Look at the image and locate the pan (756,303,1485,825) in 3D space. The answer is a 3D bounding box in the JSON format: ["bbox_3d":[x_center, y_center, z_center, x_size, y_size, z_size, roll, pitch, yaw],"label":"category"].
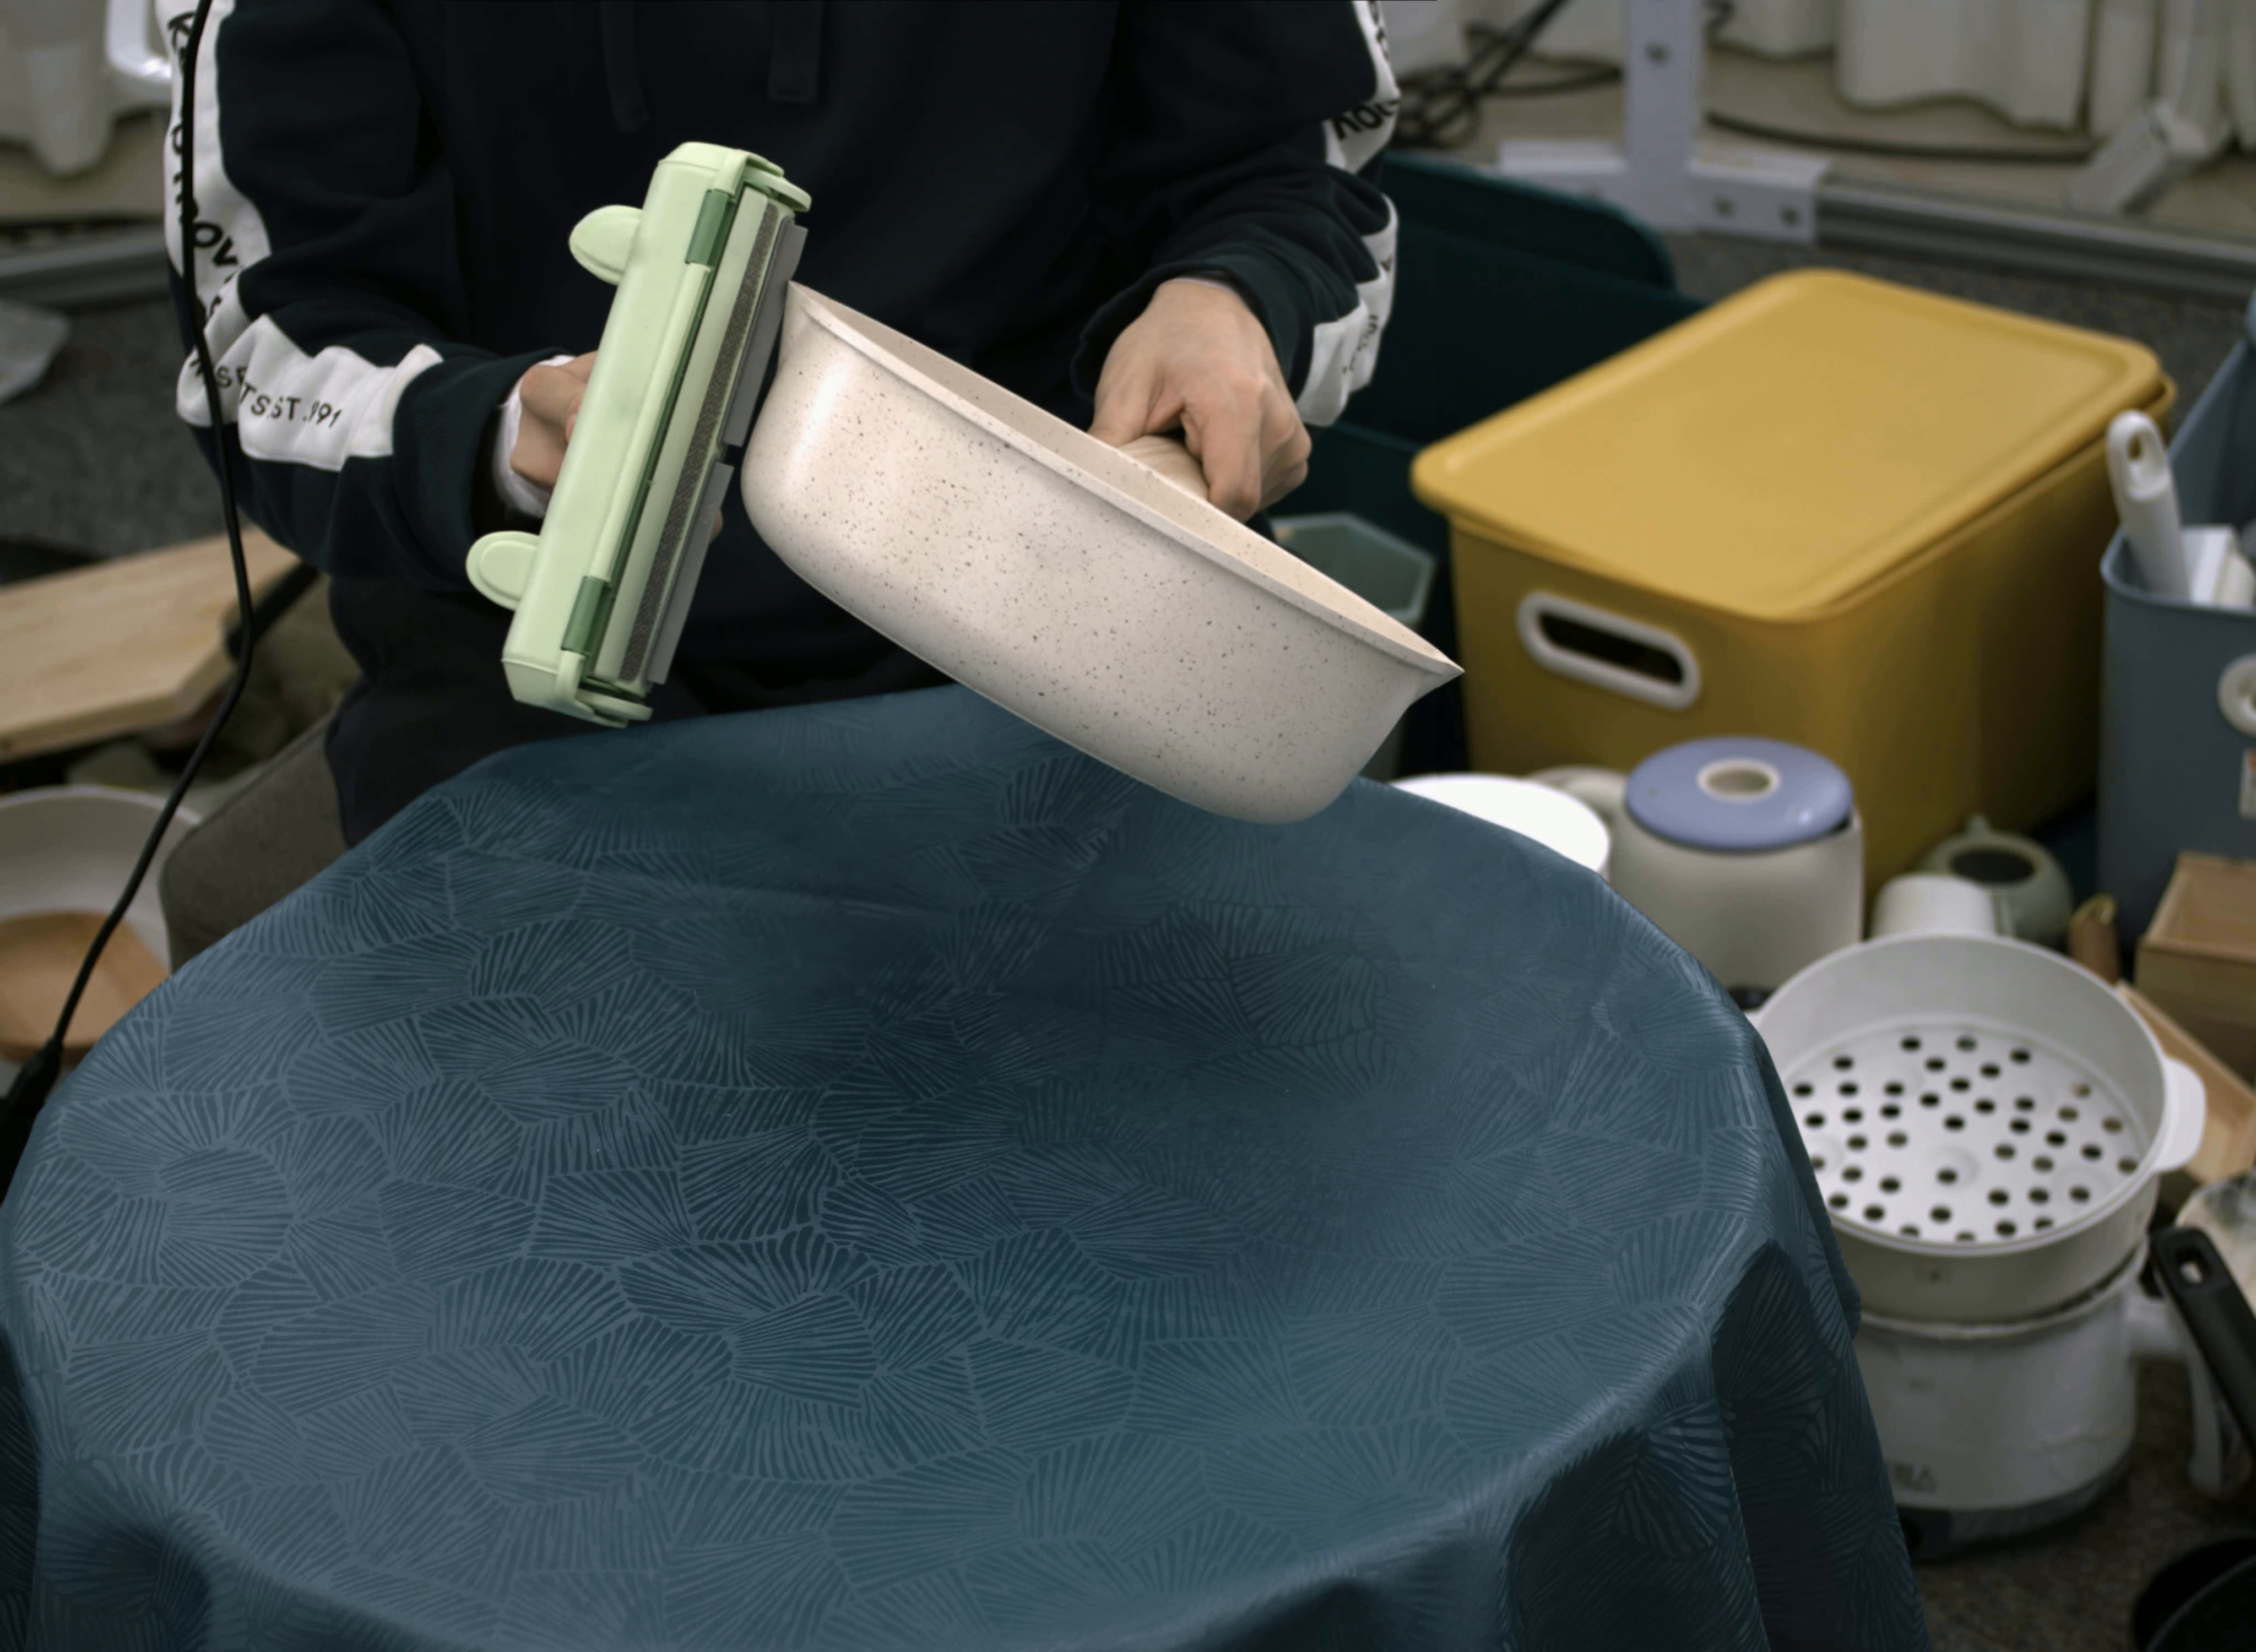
[{"bbox_3d":[-0.003,-0.094,1.991,0.263,0.102,0.436,27,5,2],"label":"pan"}]

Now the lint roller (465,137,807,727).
[{"bbox_3d":[-0.181,-0.135,1.945,0.082,0.200,0.182,19,-5,-17],"label":"lint roller"}]
